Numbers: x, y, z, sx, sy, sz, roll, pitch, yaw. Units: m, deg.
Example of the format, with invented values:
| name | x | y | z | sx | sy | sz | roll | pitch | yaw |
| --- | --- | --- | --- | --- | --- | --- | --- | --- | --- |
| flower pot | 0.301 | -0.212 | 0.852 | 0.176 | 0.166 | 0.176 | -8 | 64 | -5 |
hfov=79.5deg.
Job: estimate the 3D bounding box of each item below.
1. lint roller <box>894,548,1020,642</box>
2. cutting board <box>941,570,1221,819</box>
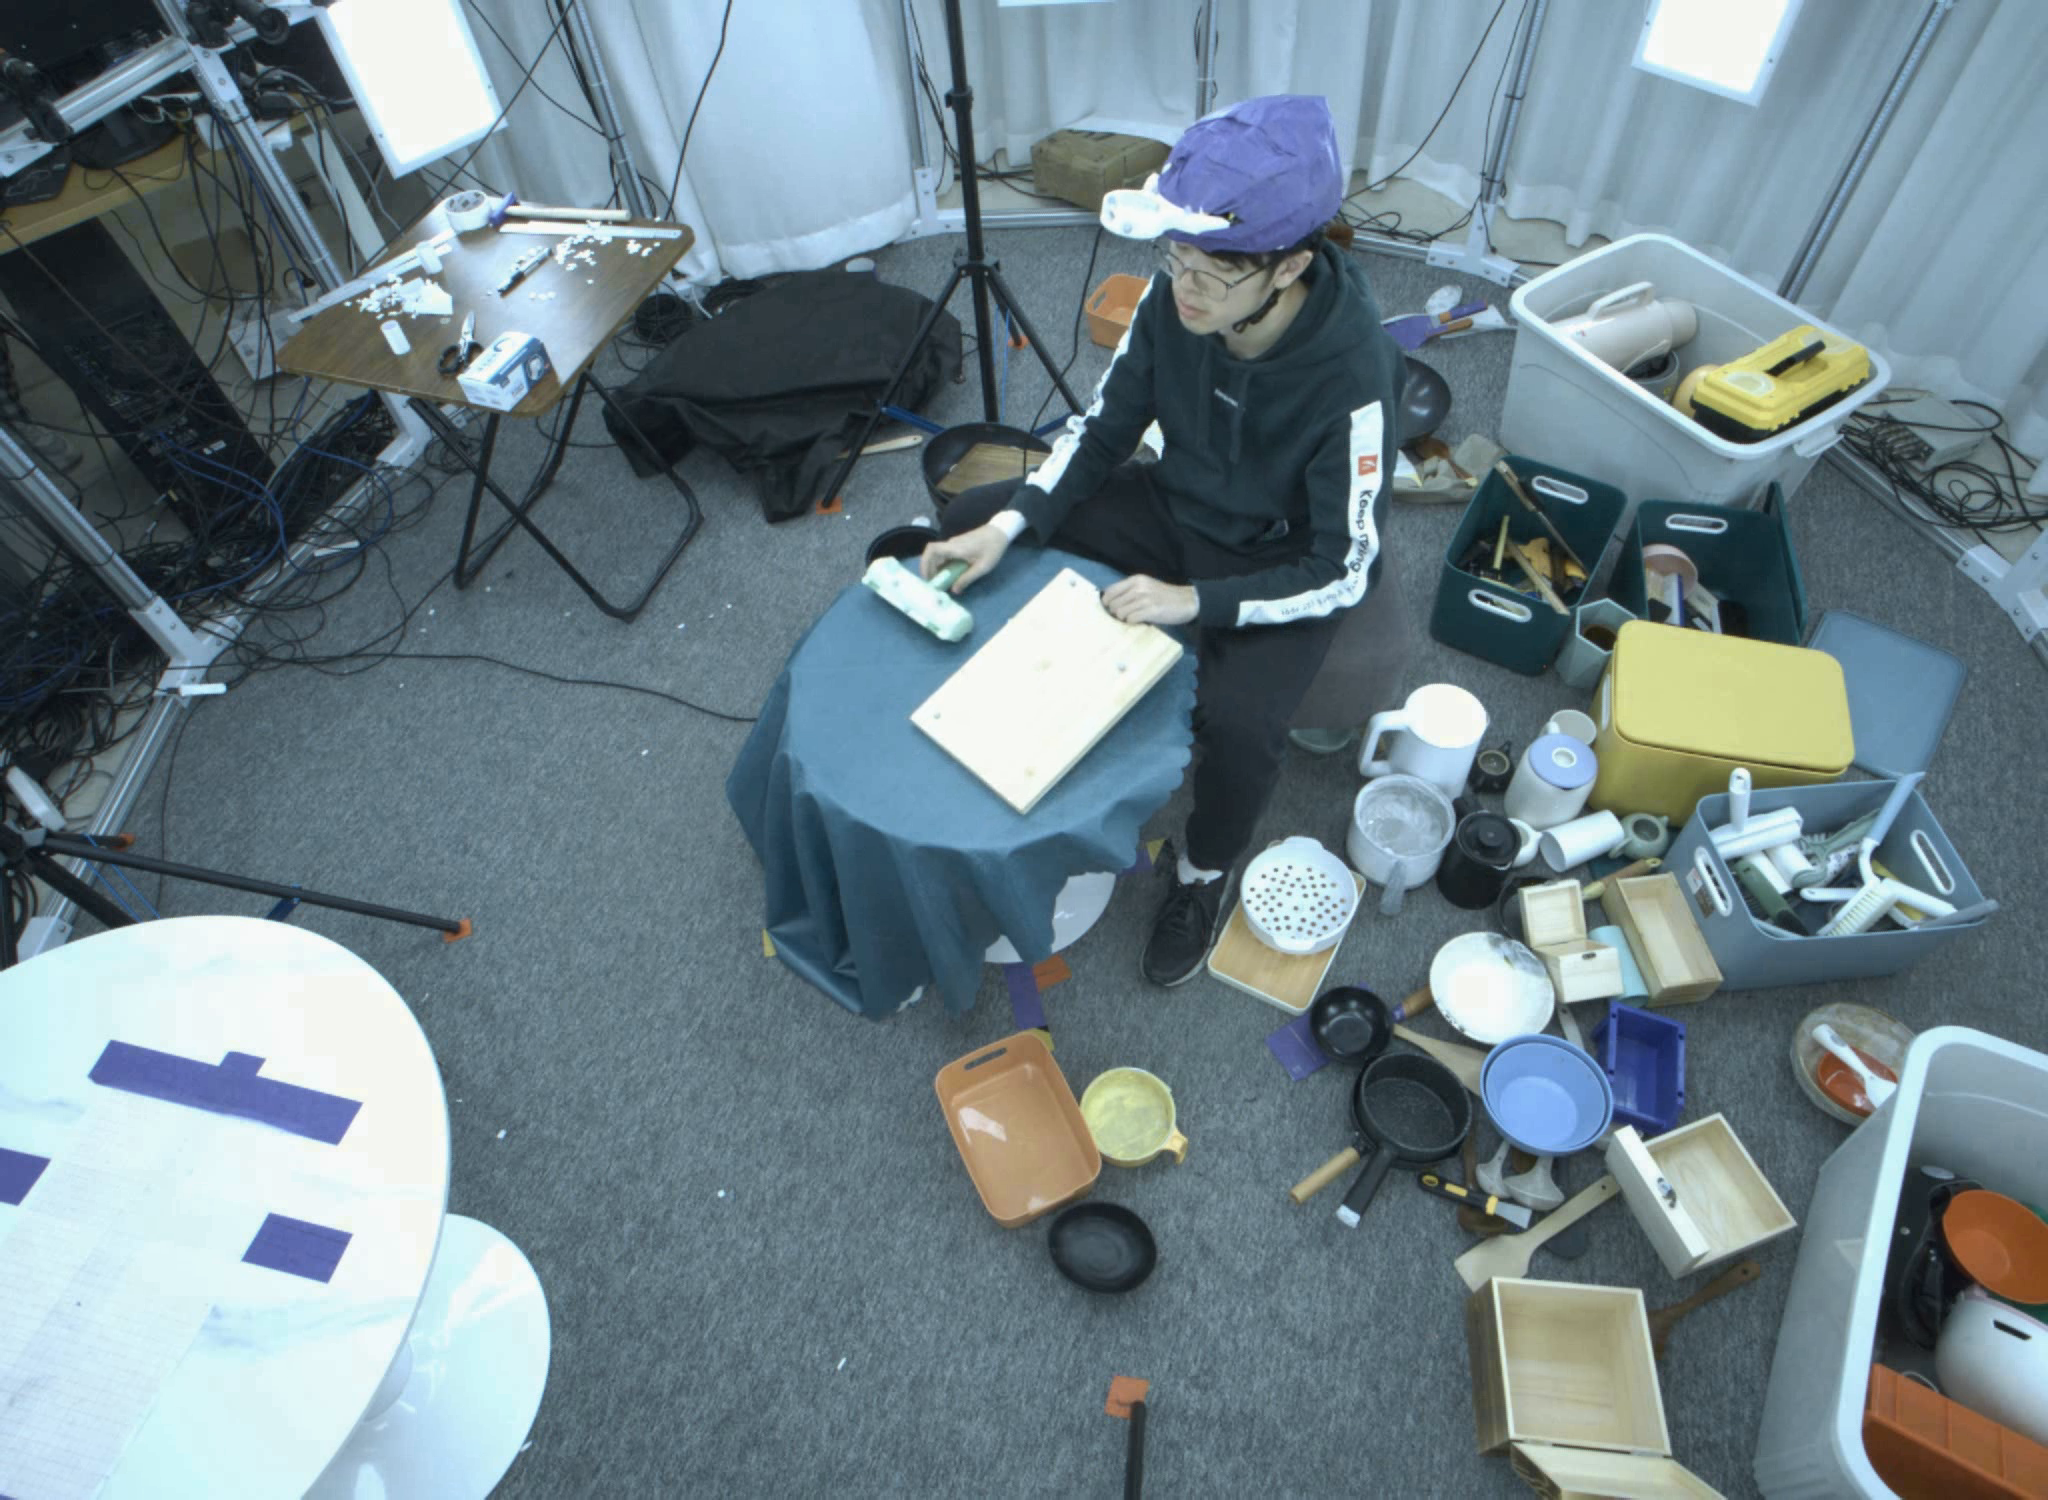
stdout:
| name | x | y | z | sx | sy | sz | roll | pitch | yaw |
| --- | --- | --- | --- | --- | --- | --- | --- | --- | --- |
| lint roller | -0.080 | -0.277 | 1.926 | 0.184 | 0.083 | 0.195 | -43 | 63 | -15 |
| cutting board | 0.079 | -0.090 | 1.794 | 0.350 | 0.024 | 0.246 | -44 | 64 | -13 |
